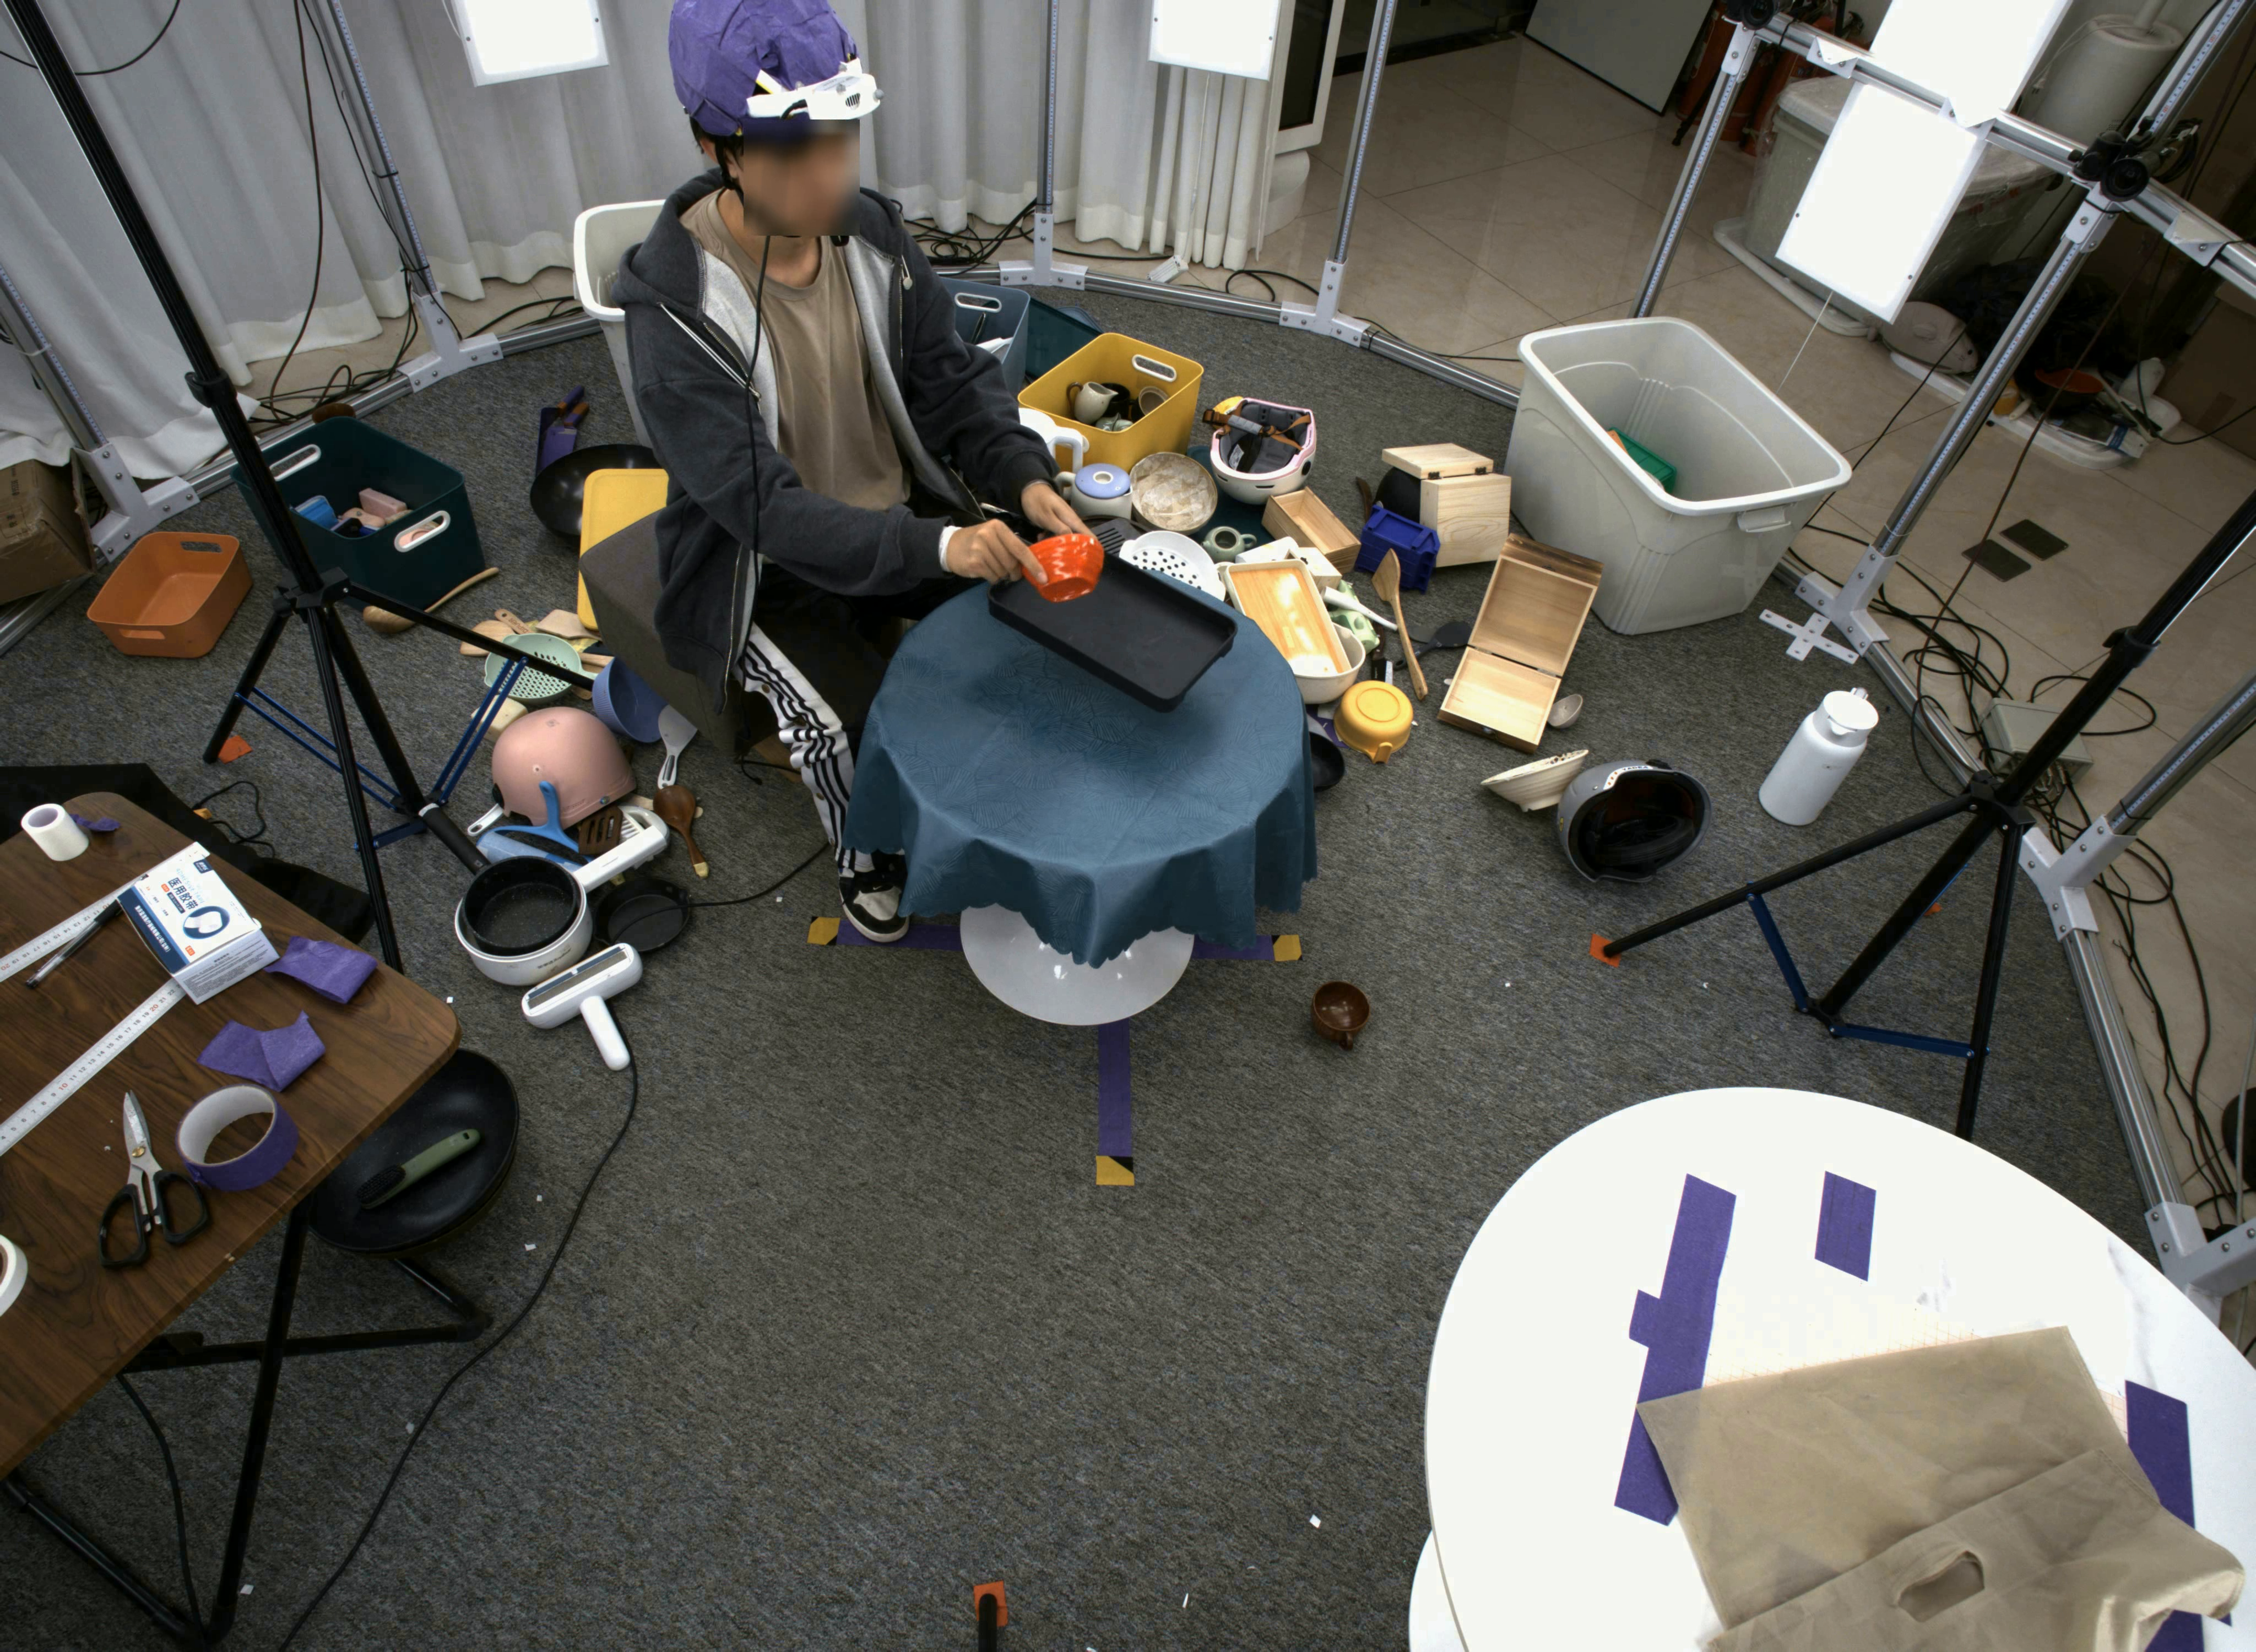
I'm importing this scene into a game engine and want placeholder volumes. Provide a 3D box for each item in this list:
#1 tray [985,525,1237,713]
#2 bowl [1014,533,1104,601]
[{"bbox_3d":[-0.024,-0.290,1.775,0.321,0.036,0.187,32,57,17],"label":"tray"},{"bbox_3d":[-0.084,-0.325,1.639,0.119,0.118,0.052,-8,79,-11],"label":"bowl"}]
